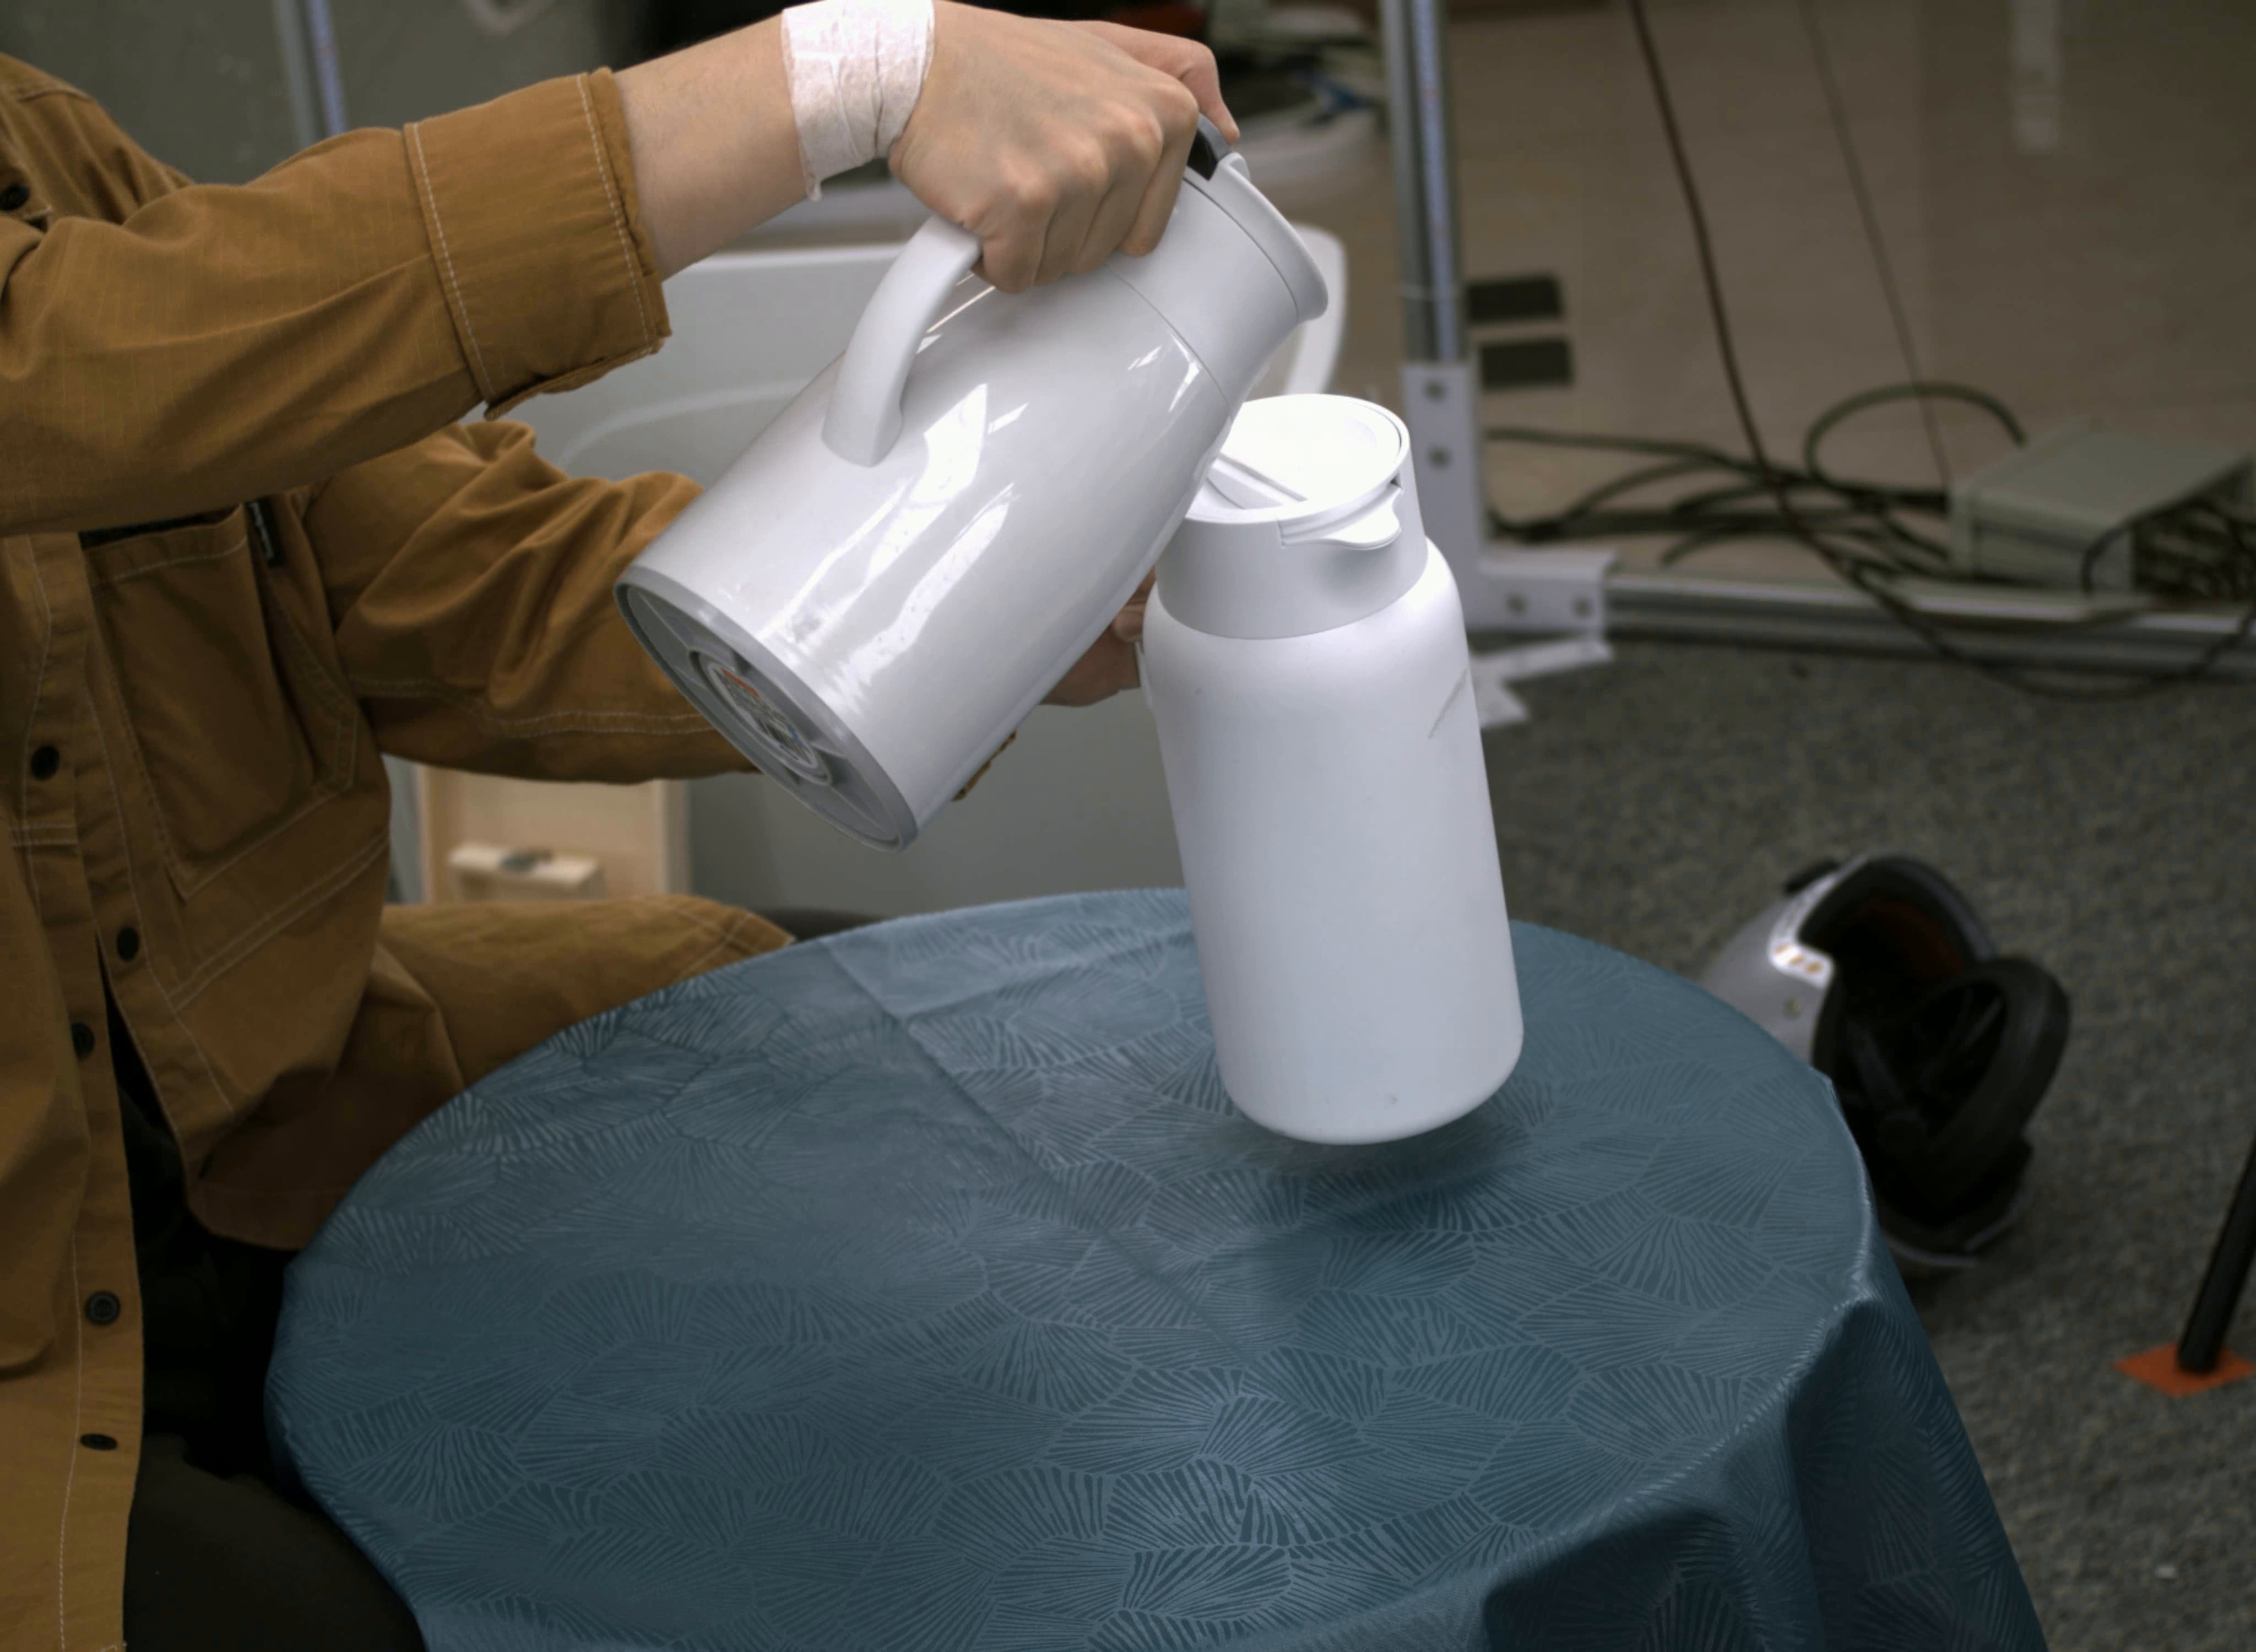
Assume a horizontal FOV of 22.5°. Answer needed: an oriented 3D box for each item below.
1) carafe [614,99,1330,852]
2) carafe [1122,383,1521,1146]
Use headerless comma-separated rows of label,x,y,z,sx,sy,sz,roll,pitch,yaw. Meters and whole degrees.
carafe,-0.046,-0.134,1.897,0.131,0.170,0.247,36,77,33
carafe,0.062,-0.026,2.098,0.123,0.274,0.171,-29,36,-23
